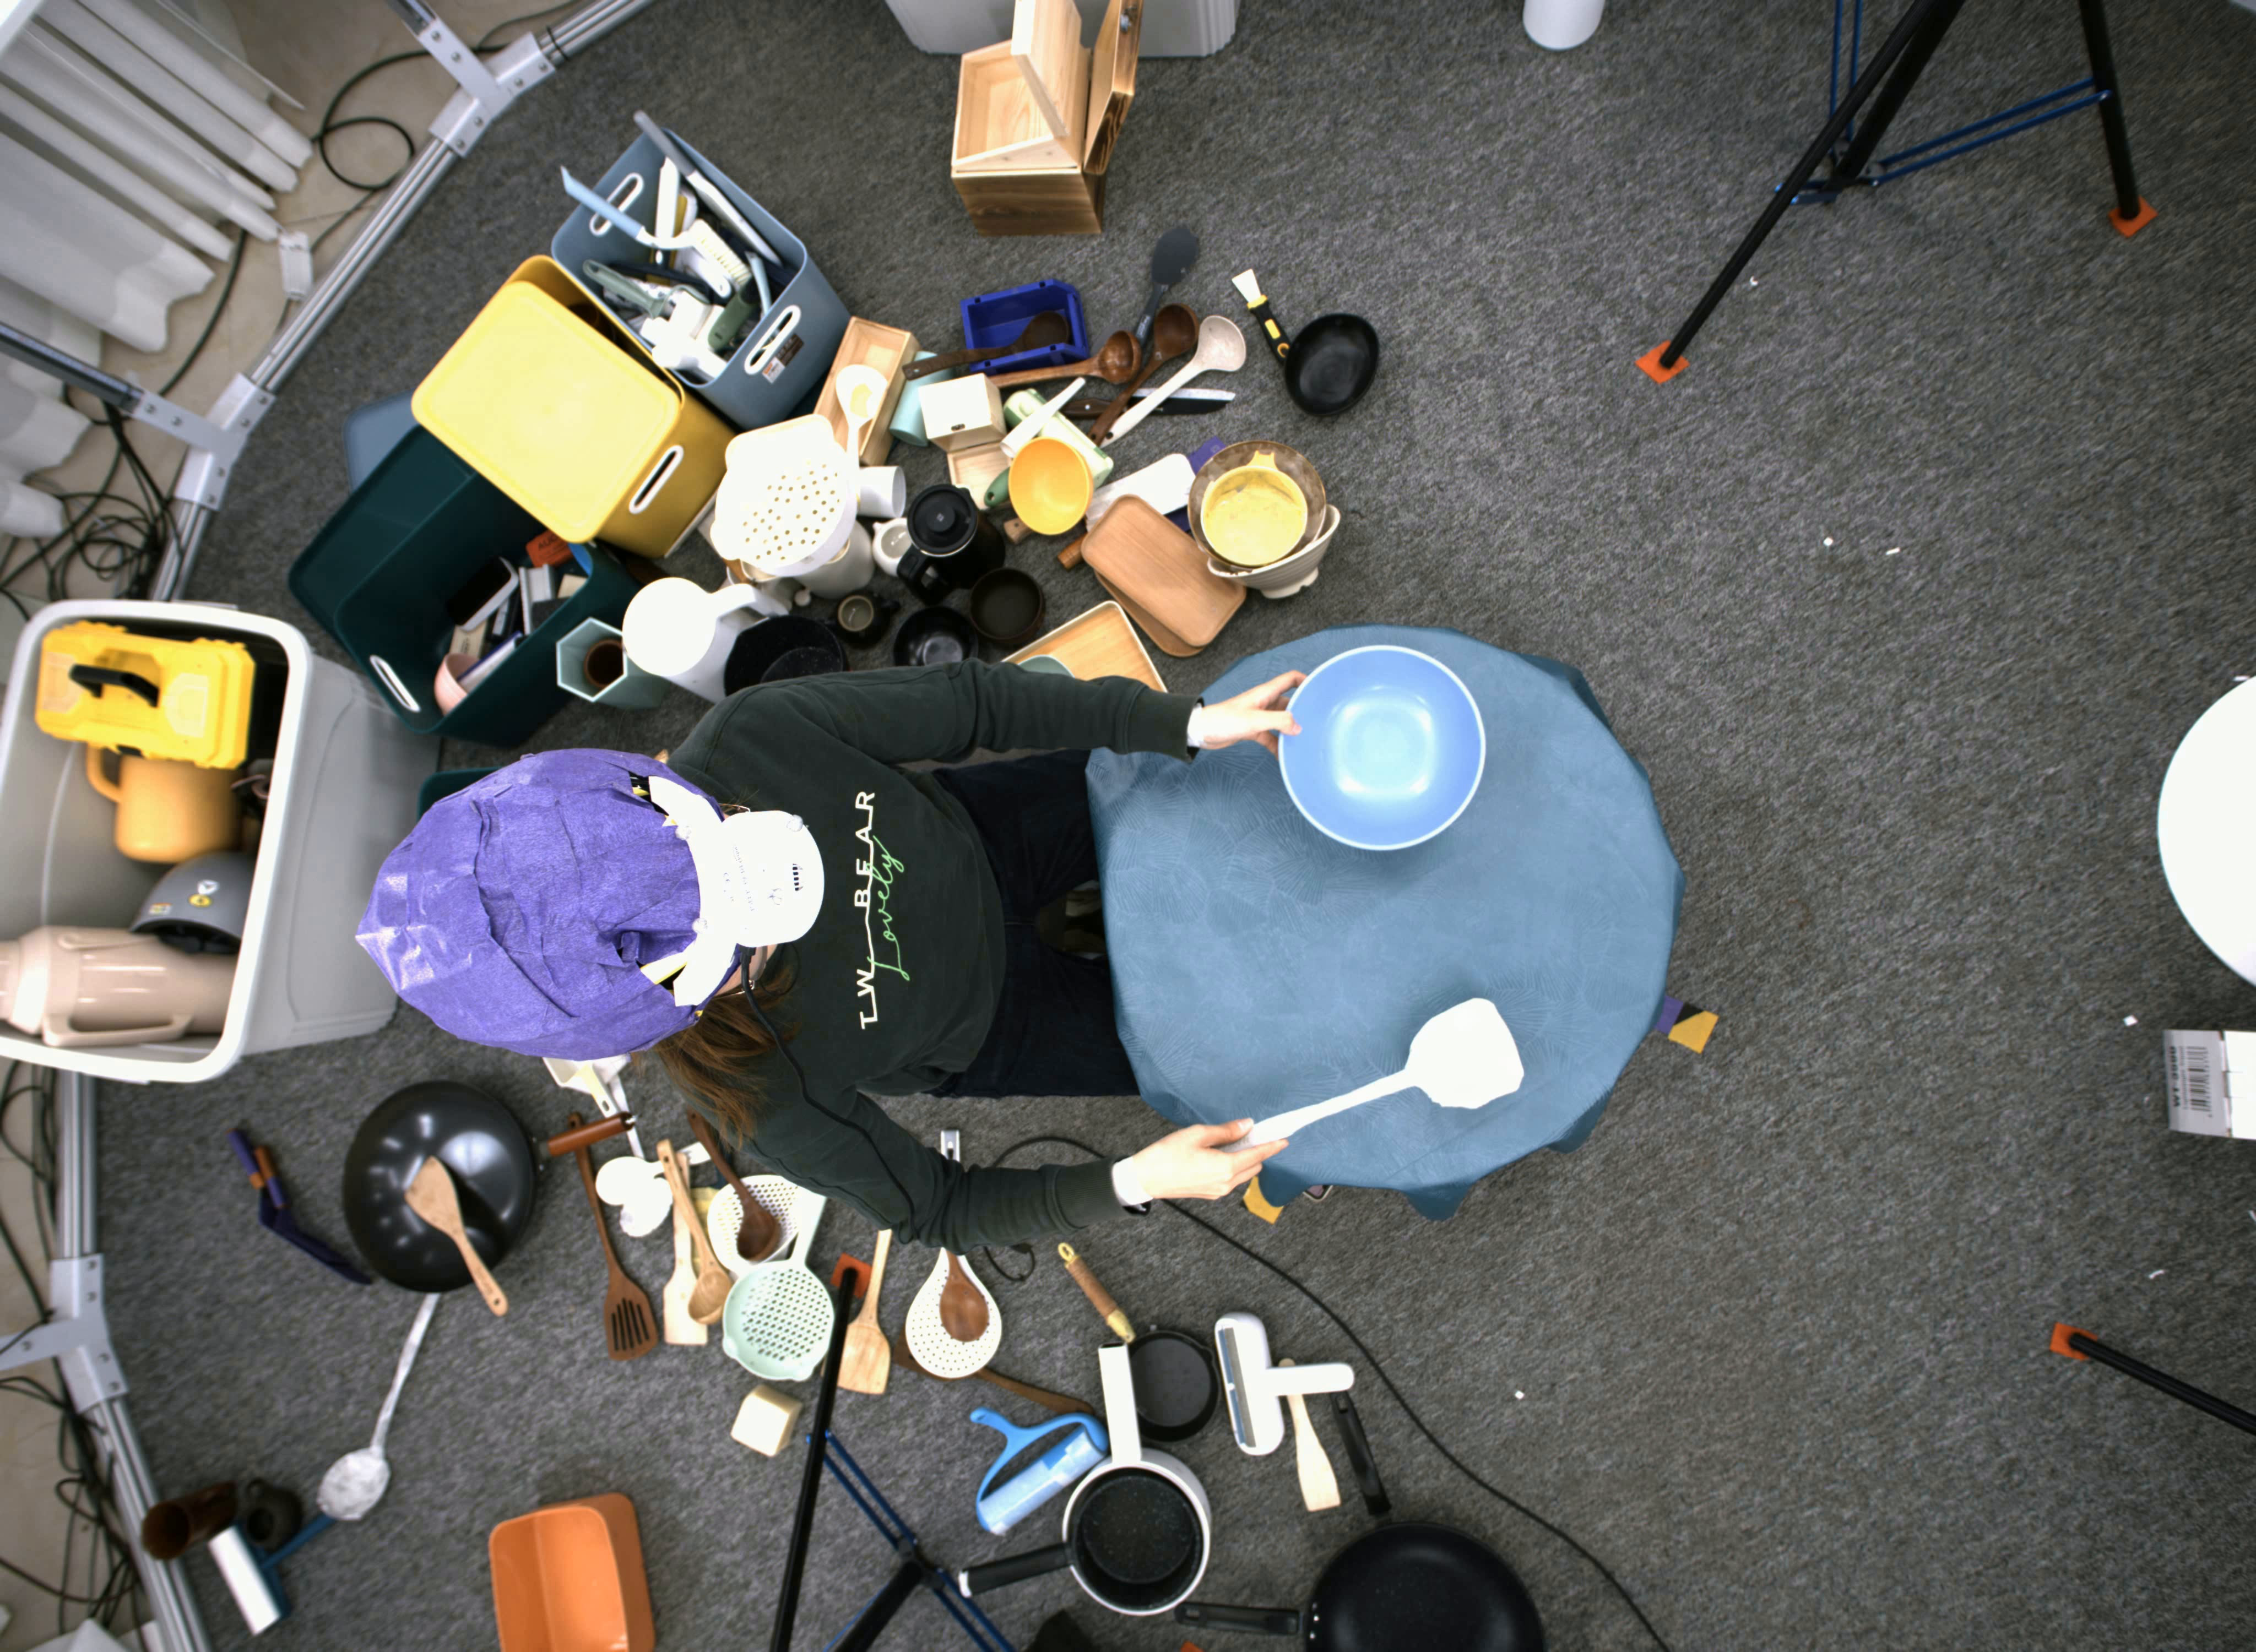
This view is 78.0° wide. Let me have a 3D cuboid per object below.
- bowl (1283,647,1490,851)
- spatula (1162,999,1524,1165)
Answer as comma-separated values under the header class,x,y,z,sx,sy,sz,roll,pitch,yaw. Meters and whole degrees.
class,x,y,z,sx,sy,sz,roll,pitch,yaw
bowl,0.255,-0.077,1.364,0.197,0.094,0.197,1,96,11
spatula,0.208,0.263,1.334,0.363,0.045,0.097,-16,77,-12
